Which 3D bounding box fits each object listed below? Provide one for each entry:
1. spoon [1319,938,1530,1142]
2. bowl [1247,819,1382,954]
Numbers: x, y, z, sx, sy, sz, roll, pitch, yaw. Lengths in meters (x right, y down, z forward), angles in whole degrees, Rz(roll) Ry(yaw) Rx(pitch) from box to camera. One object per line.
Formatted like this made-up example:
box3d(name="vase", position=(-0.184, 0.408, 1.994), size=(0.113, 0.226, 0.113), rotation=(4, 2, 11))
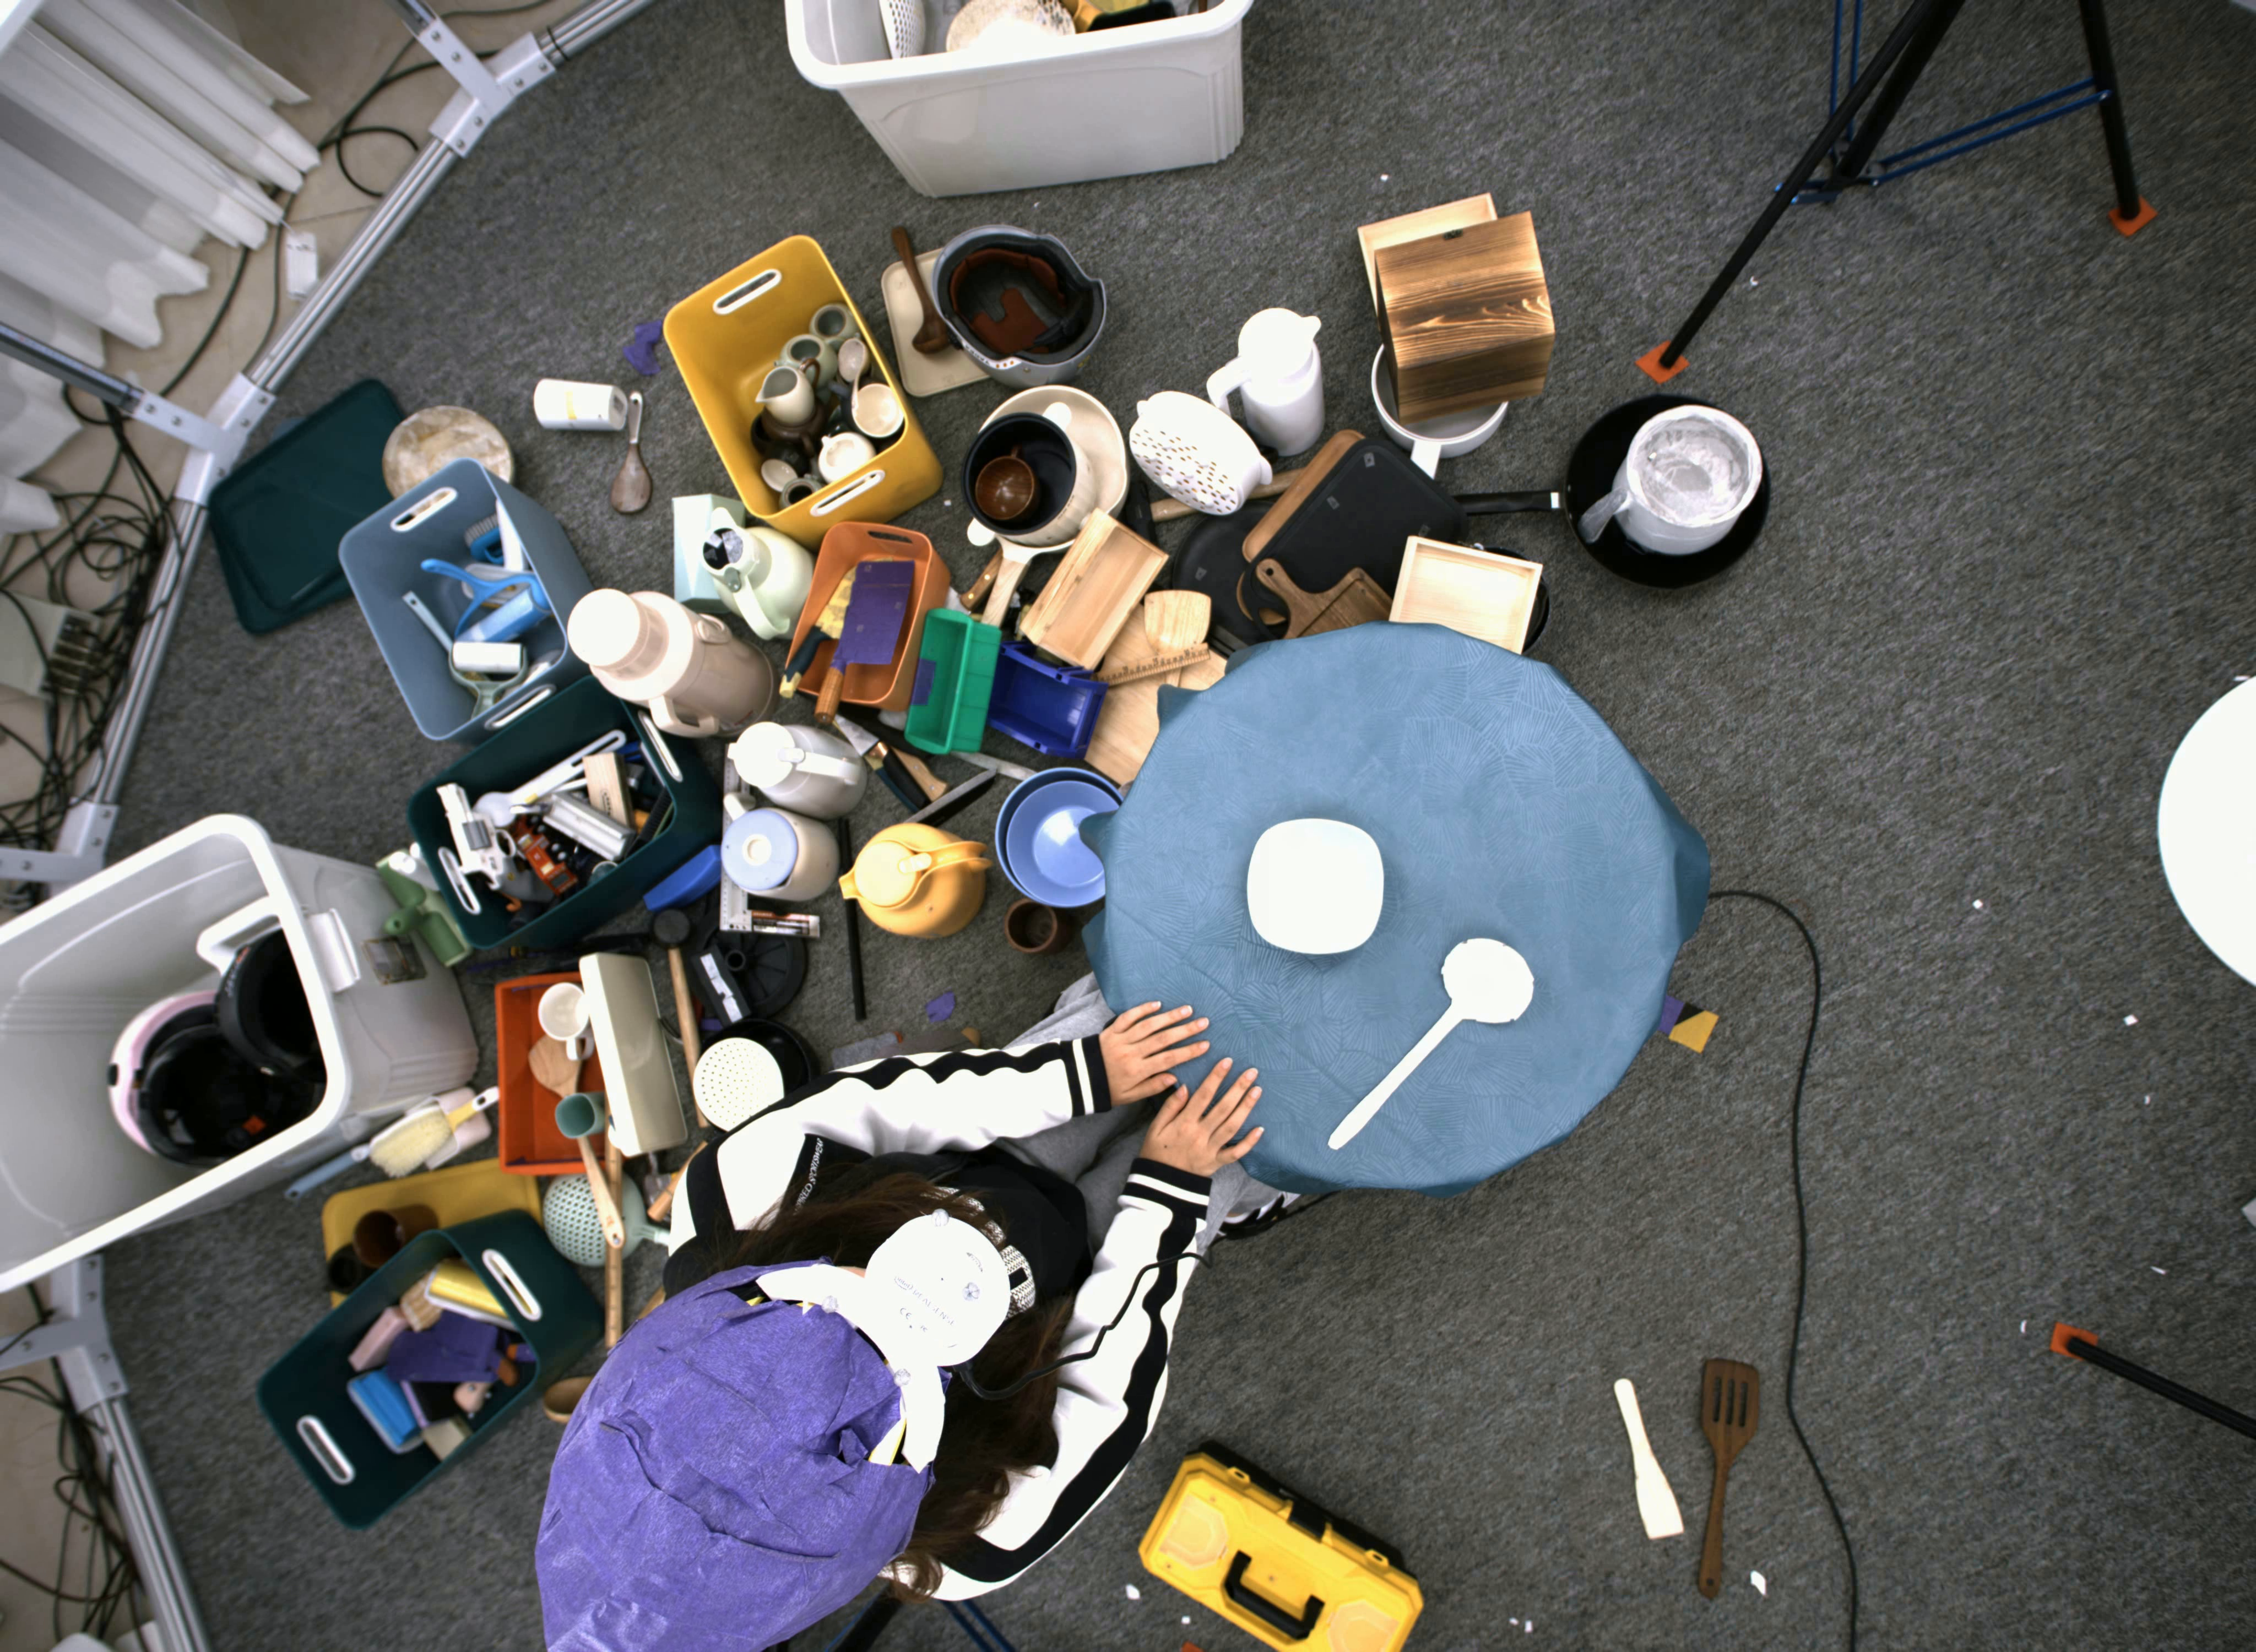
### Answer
box3d(name="spoon", position=(0.293, 0.224, 1.419), size=(0.278, 0.059, 0.100), rotation=(-44, 75, 5))
box3d(name="bowl", position=(0.196, 0.064, 1.448), size=(0.152, 0.058, 0.151), rotation=(-1, 86, 10))
